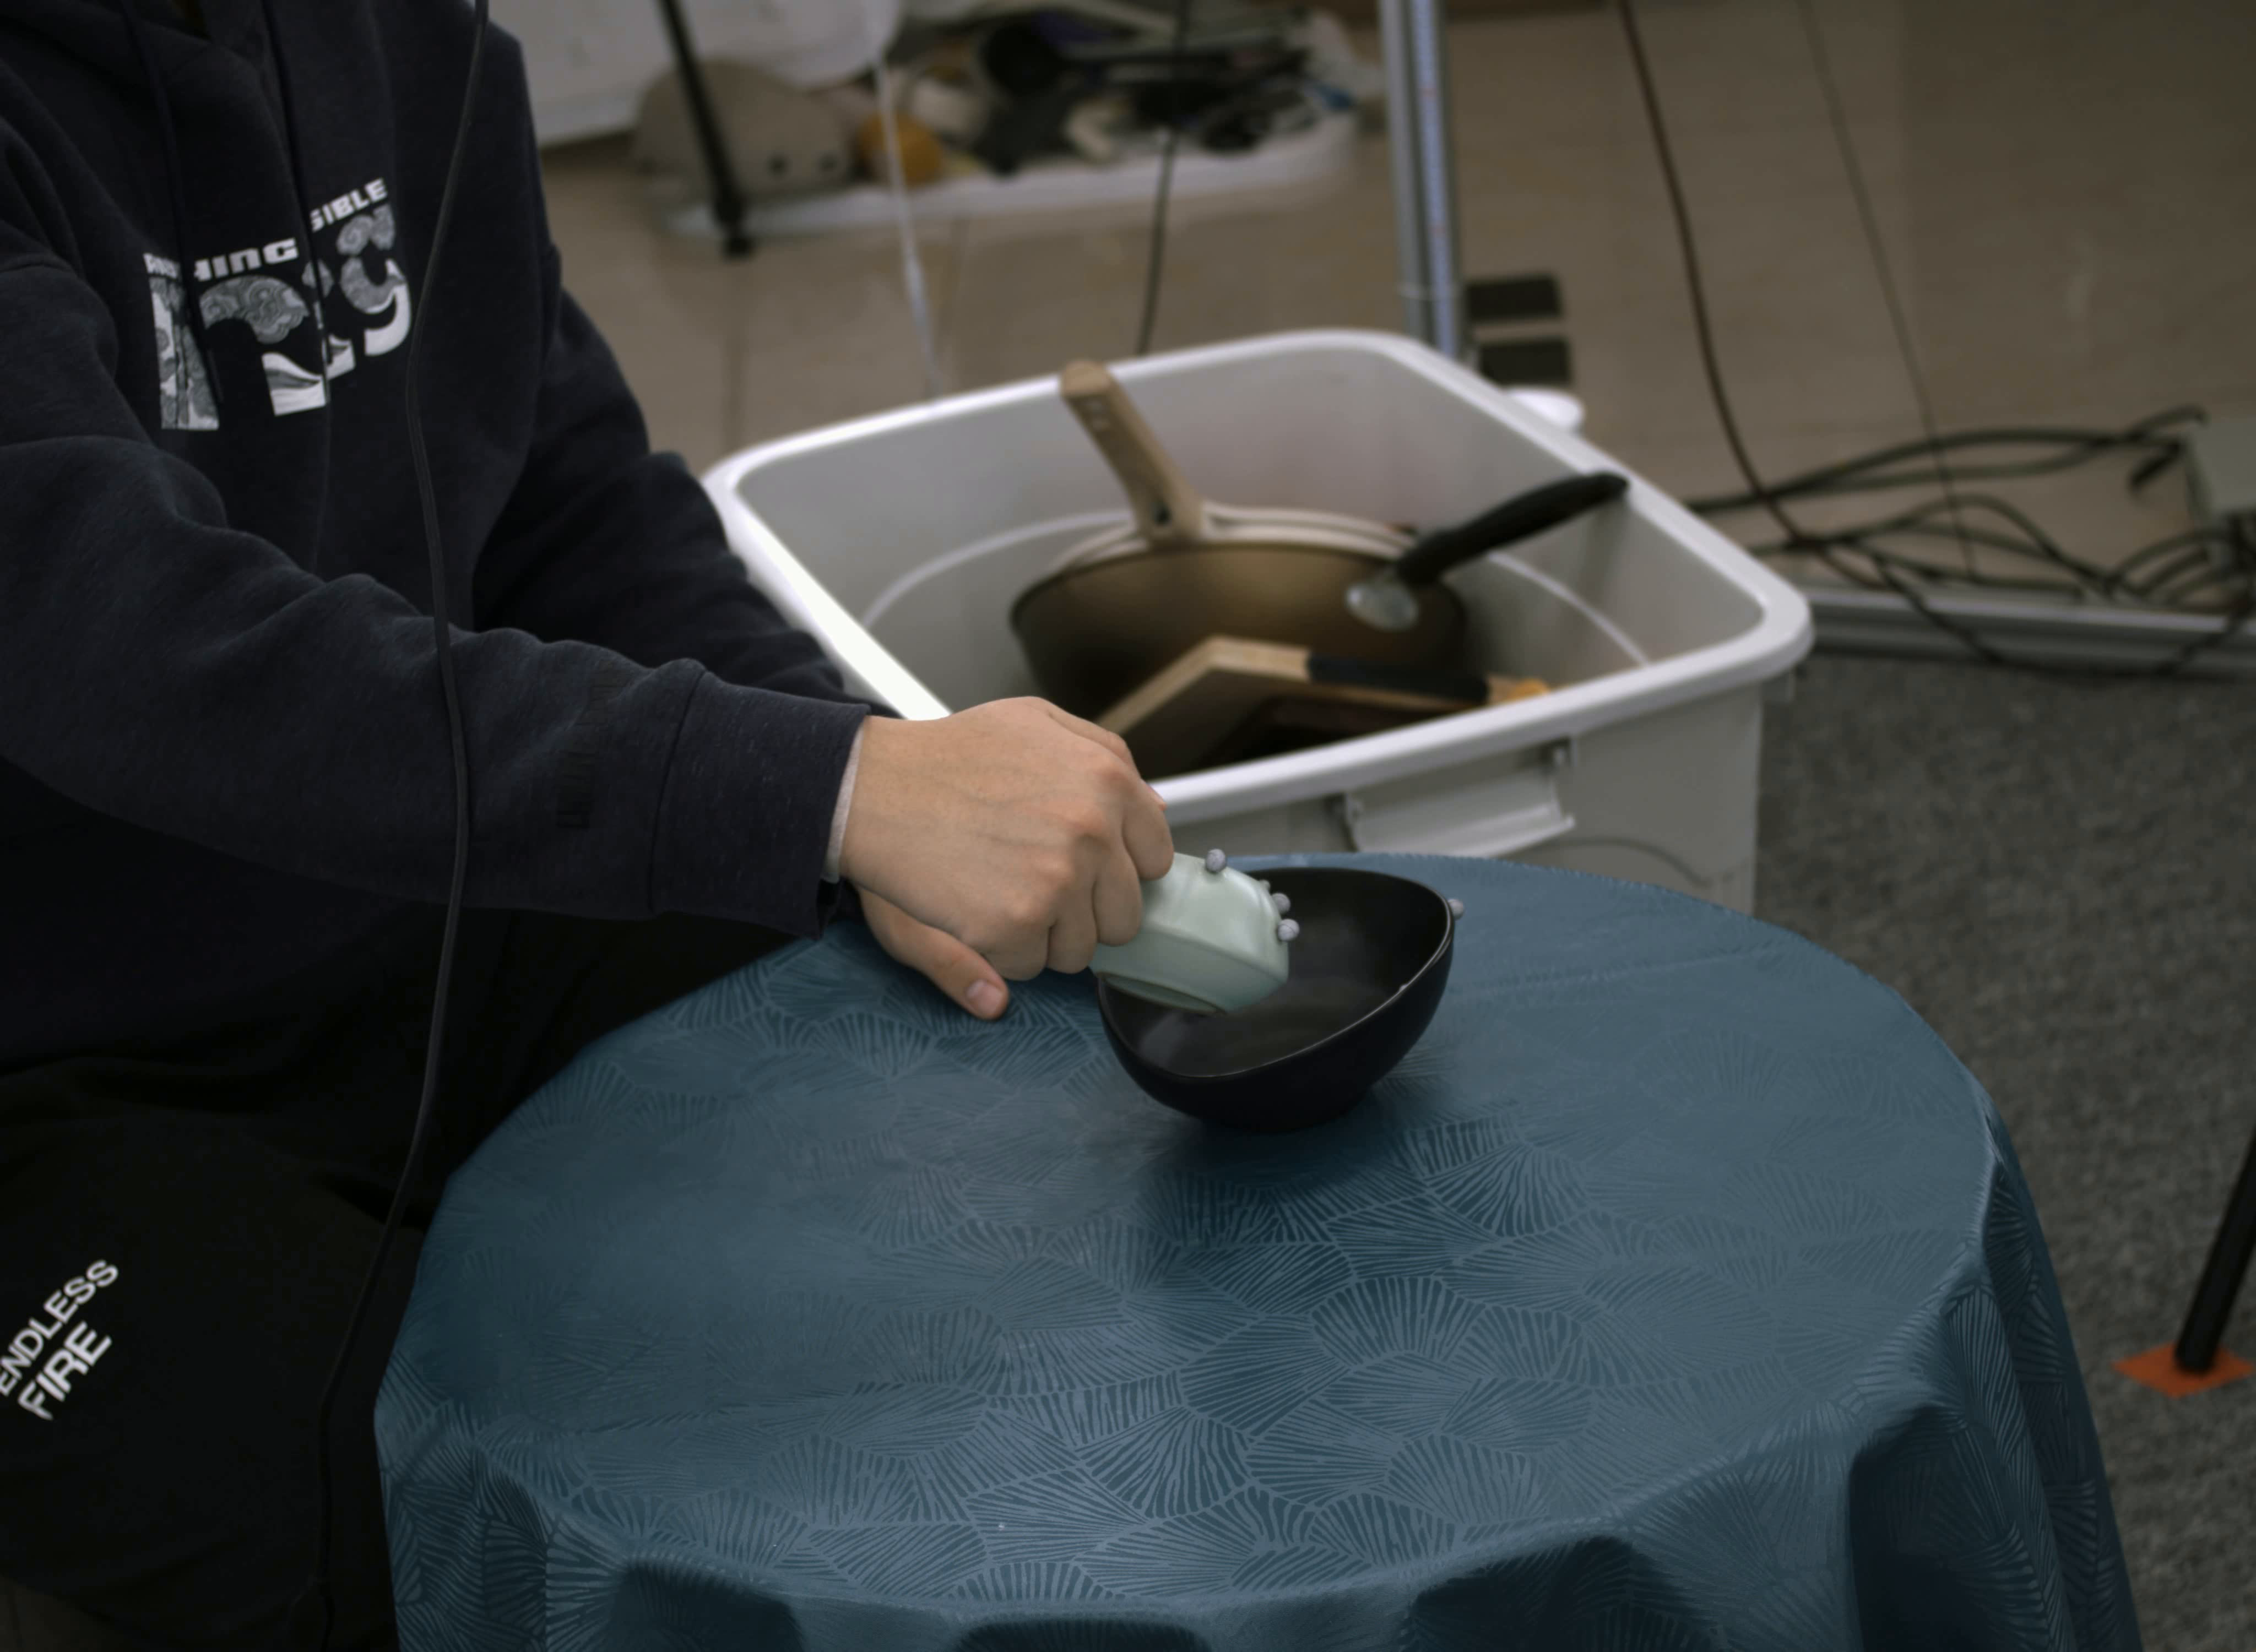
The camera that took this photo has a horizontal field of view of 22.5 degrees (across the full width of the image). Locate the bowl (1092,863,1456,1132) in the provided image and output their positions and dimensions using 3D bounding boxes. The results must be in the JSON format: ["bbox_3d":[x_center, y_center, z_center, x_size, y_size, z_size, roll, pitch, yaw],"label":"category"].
[{"bbox_3d":[0.059,0.074,2.198,0.137,0.068,0.168,3,27,21],"label":"bowl"}]

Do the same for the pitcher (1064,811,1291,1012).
[{"bbox_3d":[0.014,0.033,2.087,0.085,0.060,0.109,11,-8,33],"label":"pitcher"}]
